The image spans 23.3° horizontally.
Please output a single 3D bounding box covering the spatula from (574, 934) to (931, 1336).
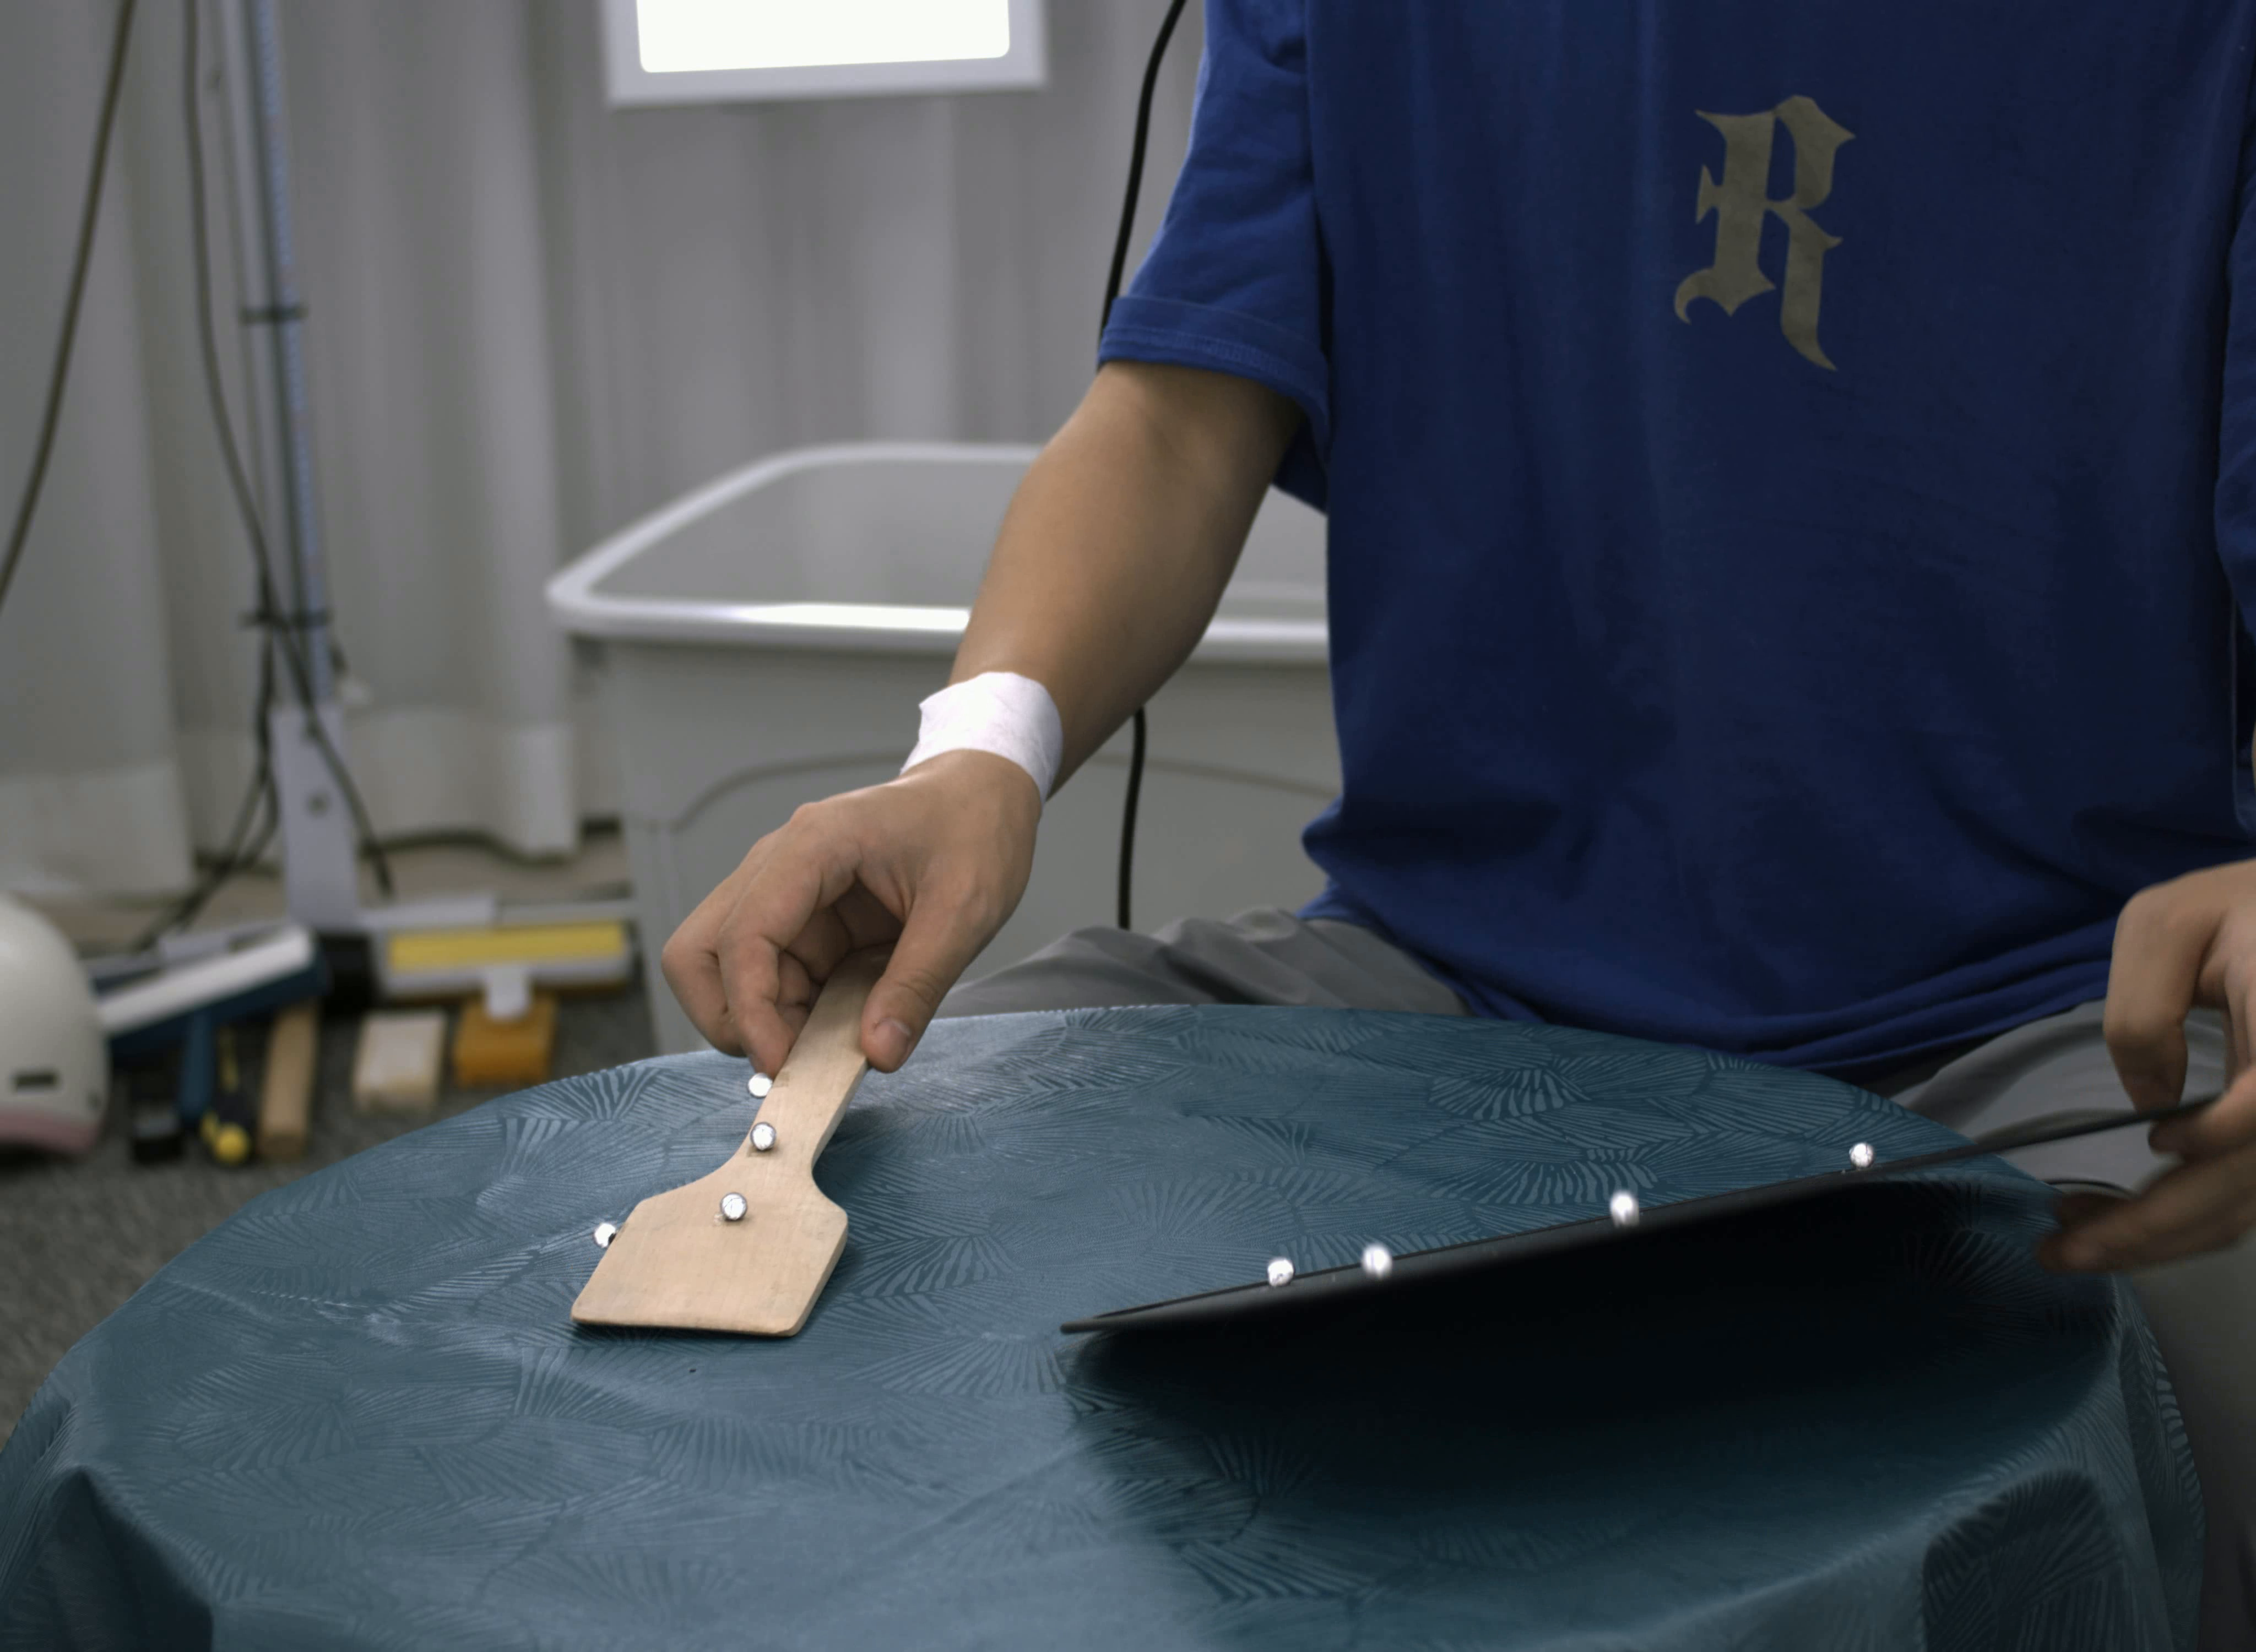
[{"bbox_3d":[-0.106,0.094,1.736,0.072,0.010,0.295,1,22,10],"label":"spatula"}]

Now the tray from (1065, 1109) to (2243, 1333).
[{"bbox_3d":[0.153,0.110,1.551,0.324,0.010,0.211,-9,-3,-21],"label":"tray"}]
